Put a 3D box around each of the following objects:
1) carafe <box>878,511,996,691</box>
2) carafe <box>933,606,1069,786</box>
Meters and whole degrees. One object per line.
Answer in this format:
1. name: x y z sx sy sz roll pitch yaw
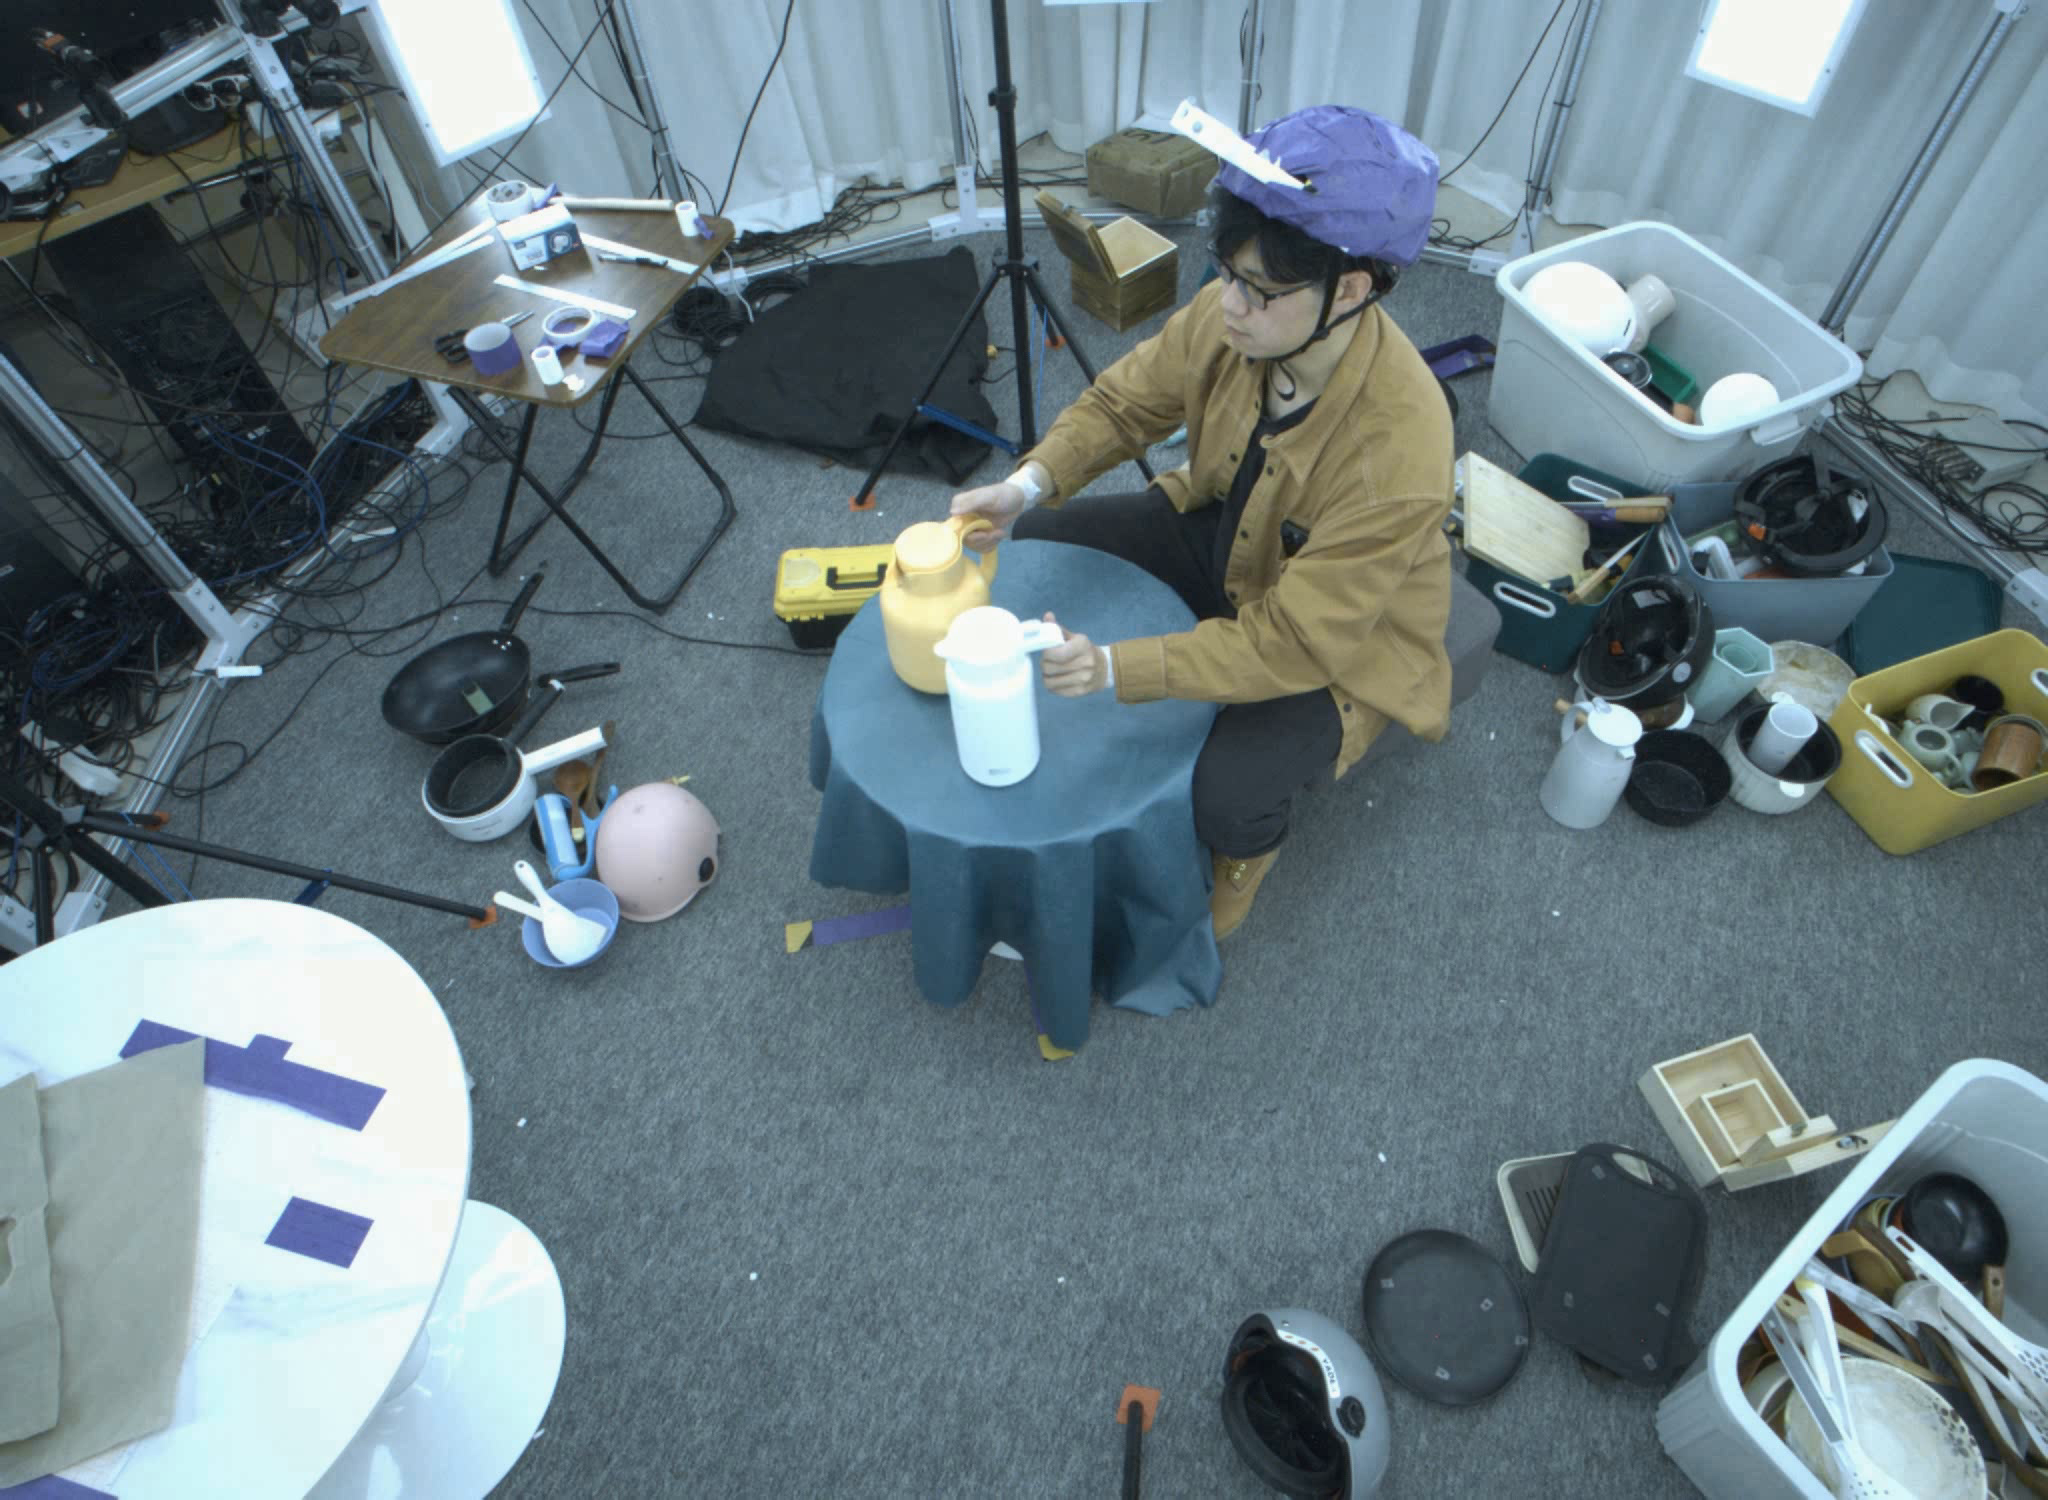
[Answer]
1. carafe: -0.116 -0.224 1.784 0.161 0.263 0.203 38 66 23
2. carafe: -0.026 -0.074 1.672 0.173 0.272 0.122 -13 52 -6
